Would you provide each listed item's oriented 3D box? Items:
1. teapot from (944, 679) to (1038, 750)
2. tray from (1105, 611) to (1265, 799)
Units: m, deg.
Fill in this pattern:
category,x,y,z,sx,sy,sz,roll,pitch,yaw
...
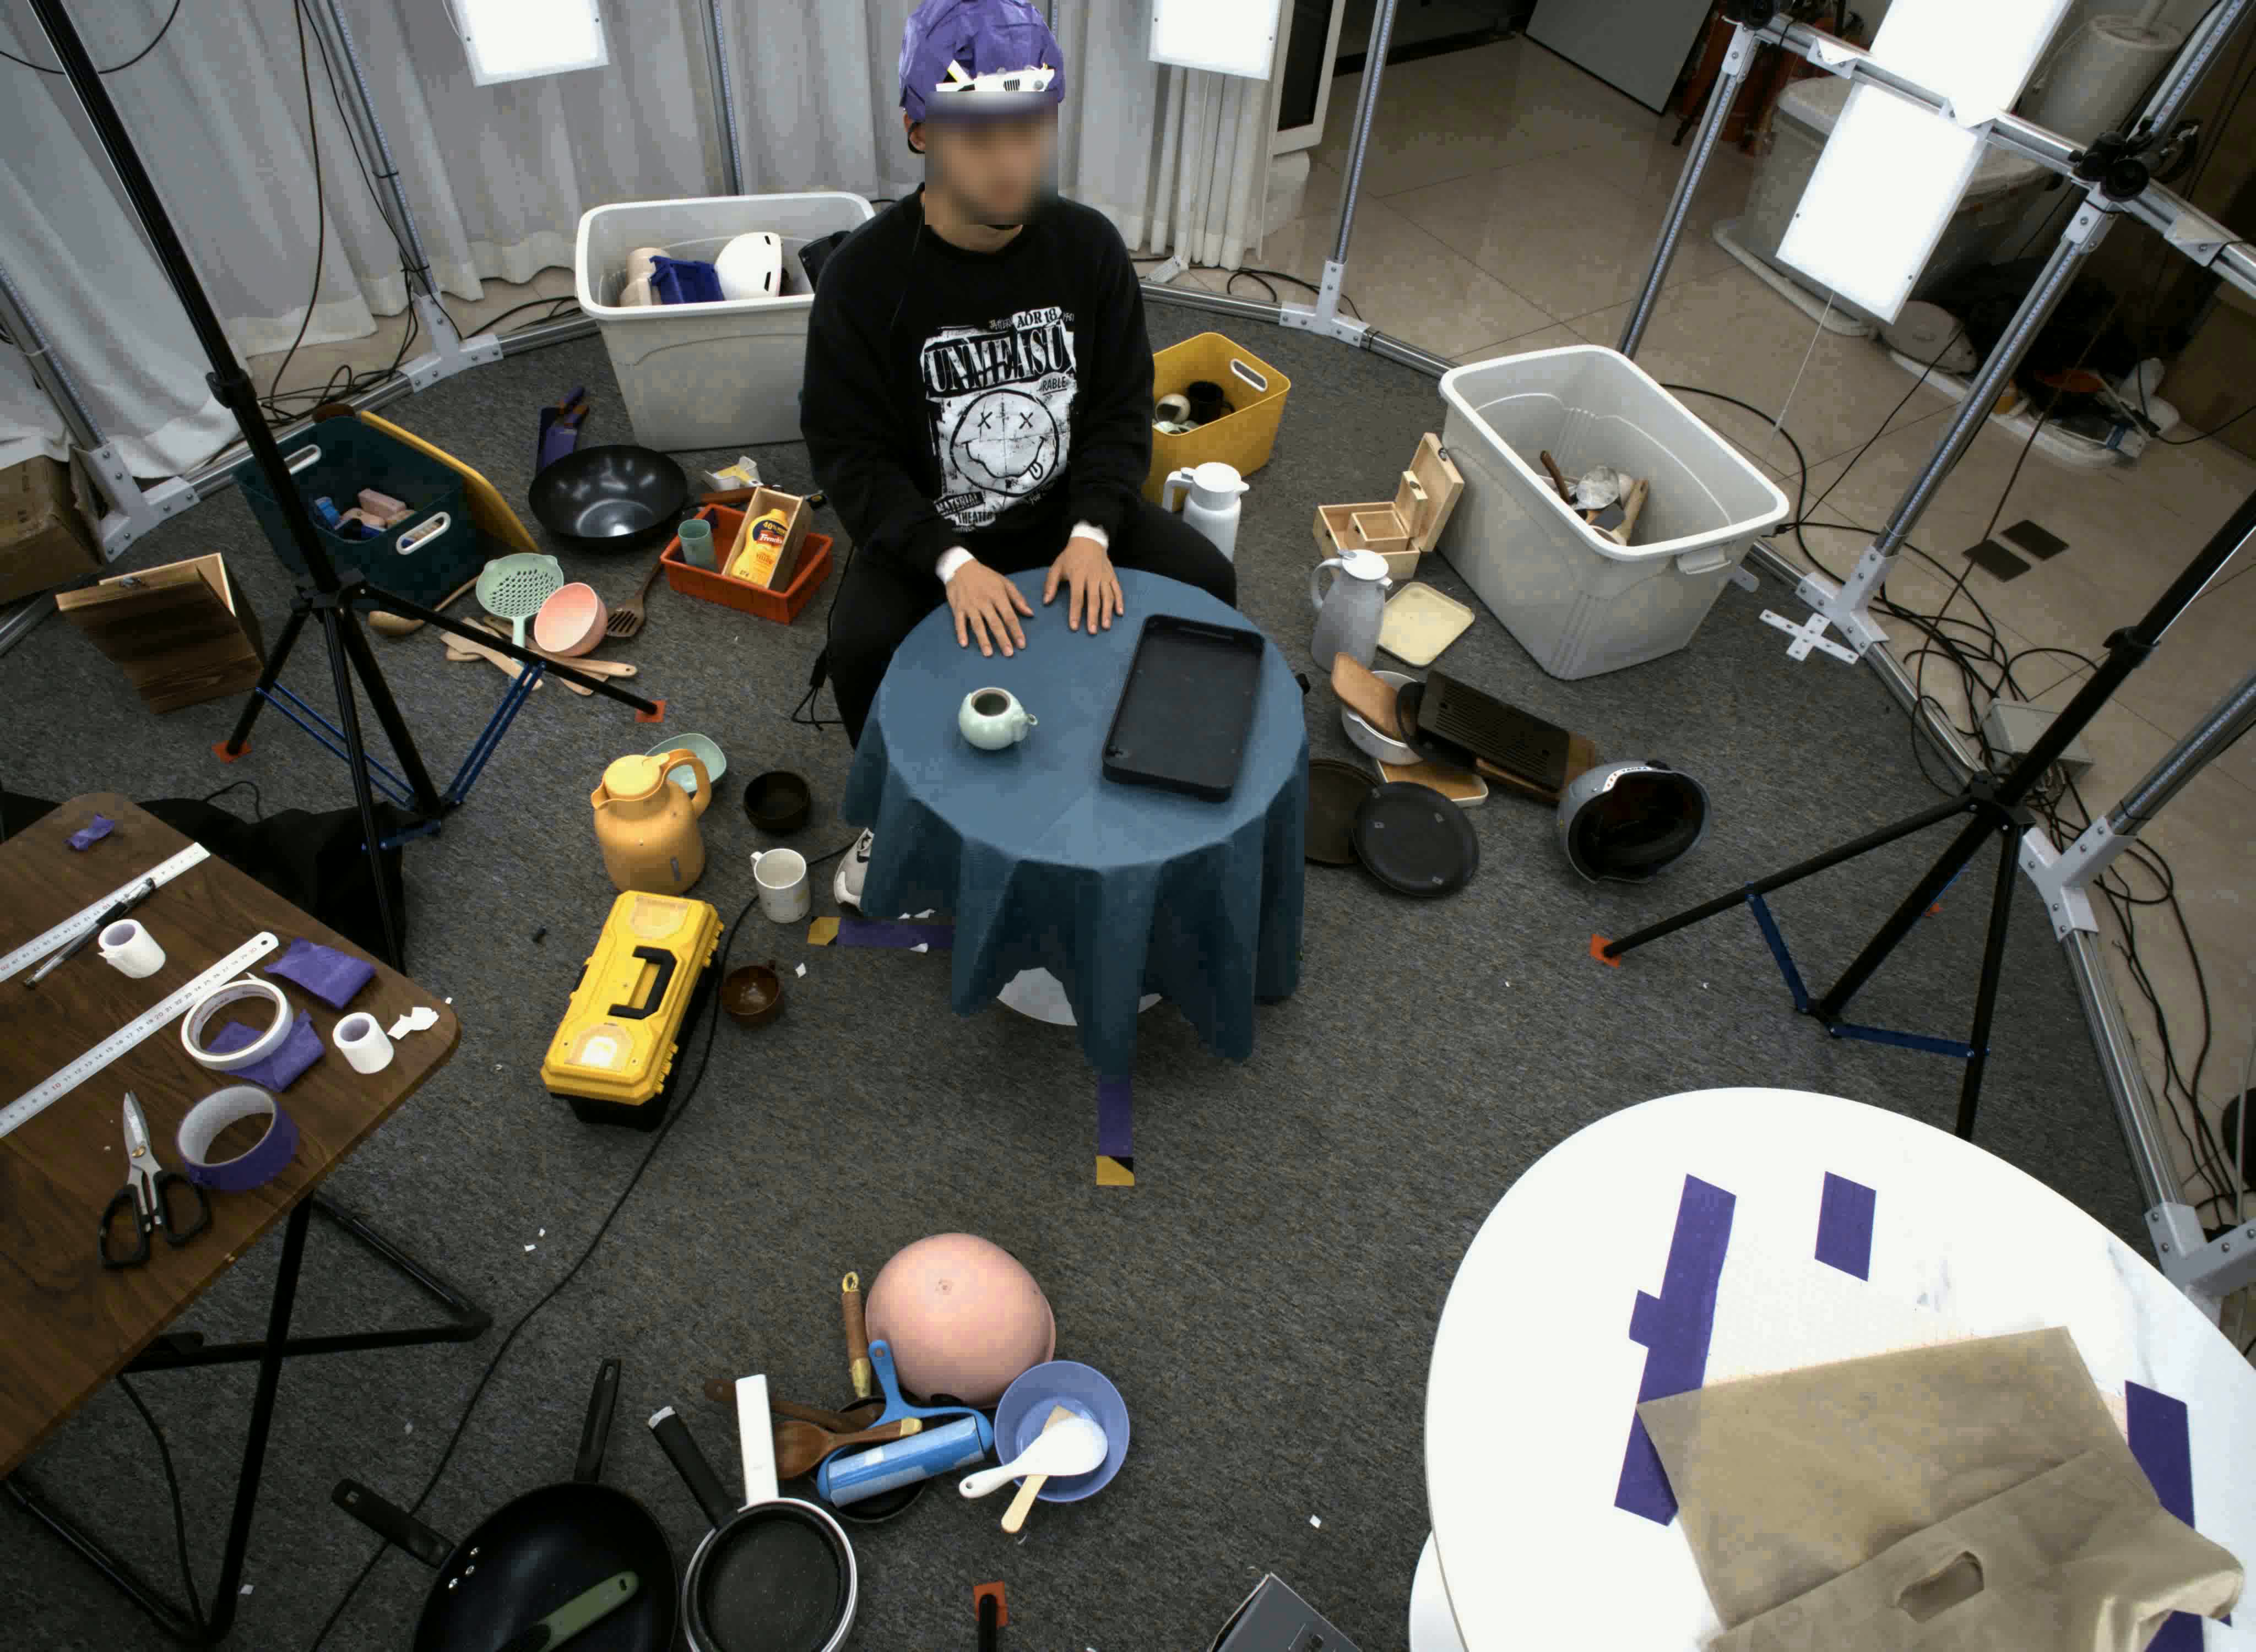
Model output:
category,x,y,z,sx,sy,sz,roll,pitch,yaw
teapot,-0.185,-0.146,1.738,0.145,0.073,0.089,27,53,17
tray,0.084,-0.176,1.804,0.184,0.036,0.325,10,50,5
